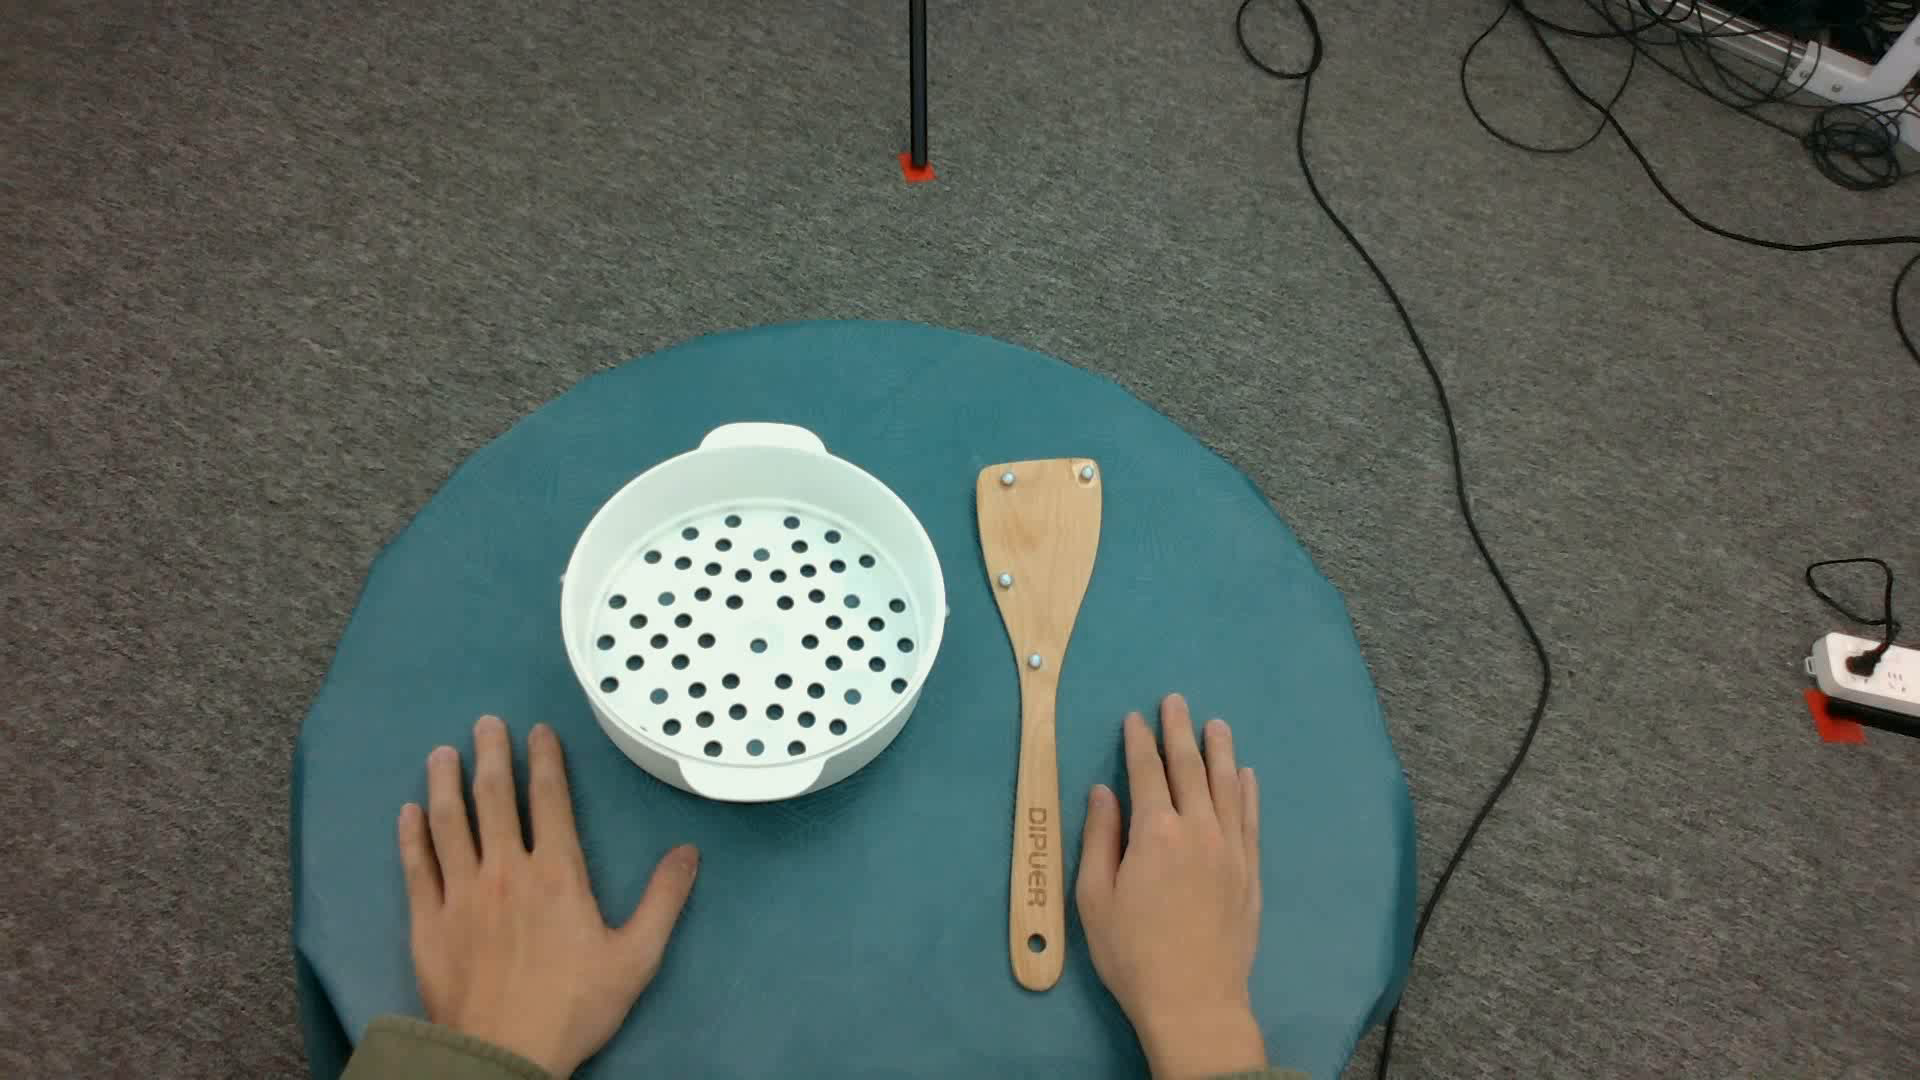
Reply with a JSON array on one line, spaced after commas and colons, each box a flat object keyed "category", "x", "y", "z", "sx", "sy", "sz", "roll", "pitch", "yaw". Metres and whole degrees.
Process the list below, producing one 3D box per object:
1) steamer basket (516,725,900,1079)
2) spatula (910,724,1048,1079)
[{"category": "steamer basket", "x": -0.134, "y": 0.212, "z": 0.754, "sx": 0.202, "sy": 0.069, "sz": 0.231, "roll": -7, "pitch": 47, "yaw": -10}, {"category": "spatula", "x": 0.026, "y": 0.241, "z": 0.769, "sx": 0.080, "sy": 0.016, "sz": 0.329, "roll": -4, "pitch": 45, "yaw": -7}]
